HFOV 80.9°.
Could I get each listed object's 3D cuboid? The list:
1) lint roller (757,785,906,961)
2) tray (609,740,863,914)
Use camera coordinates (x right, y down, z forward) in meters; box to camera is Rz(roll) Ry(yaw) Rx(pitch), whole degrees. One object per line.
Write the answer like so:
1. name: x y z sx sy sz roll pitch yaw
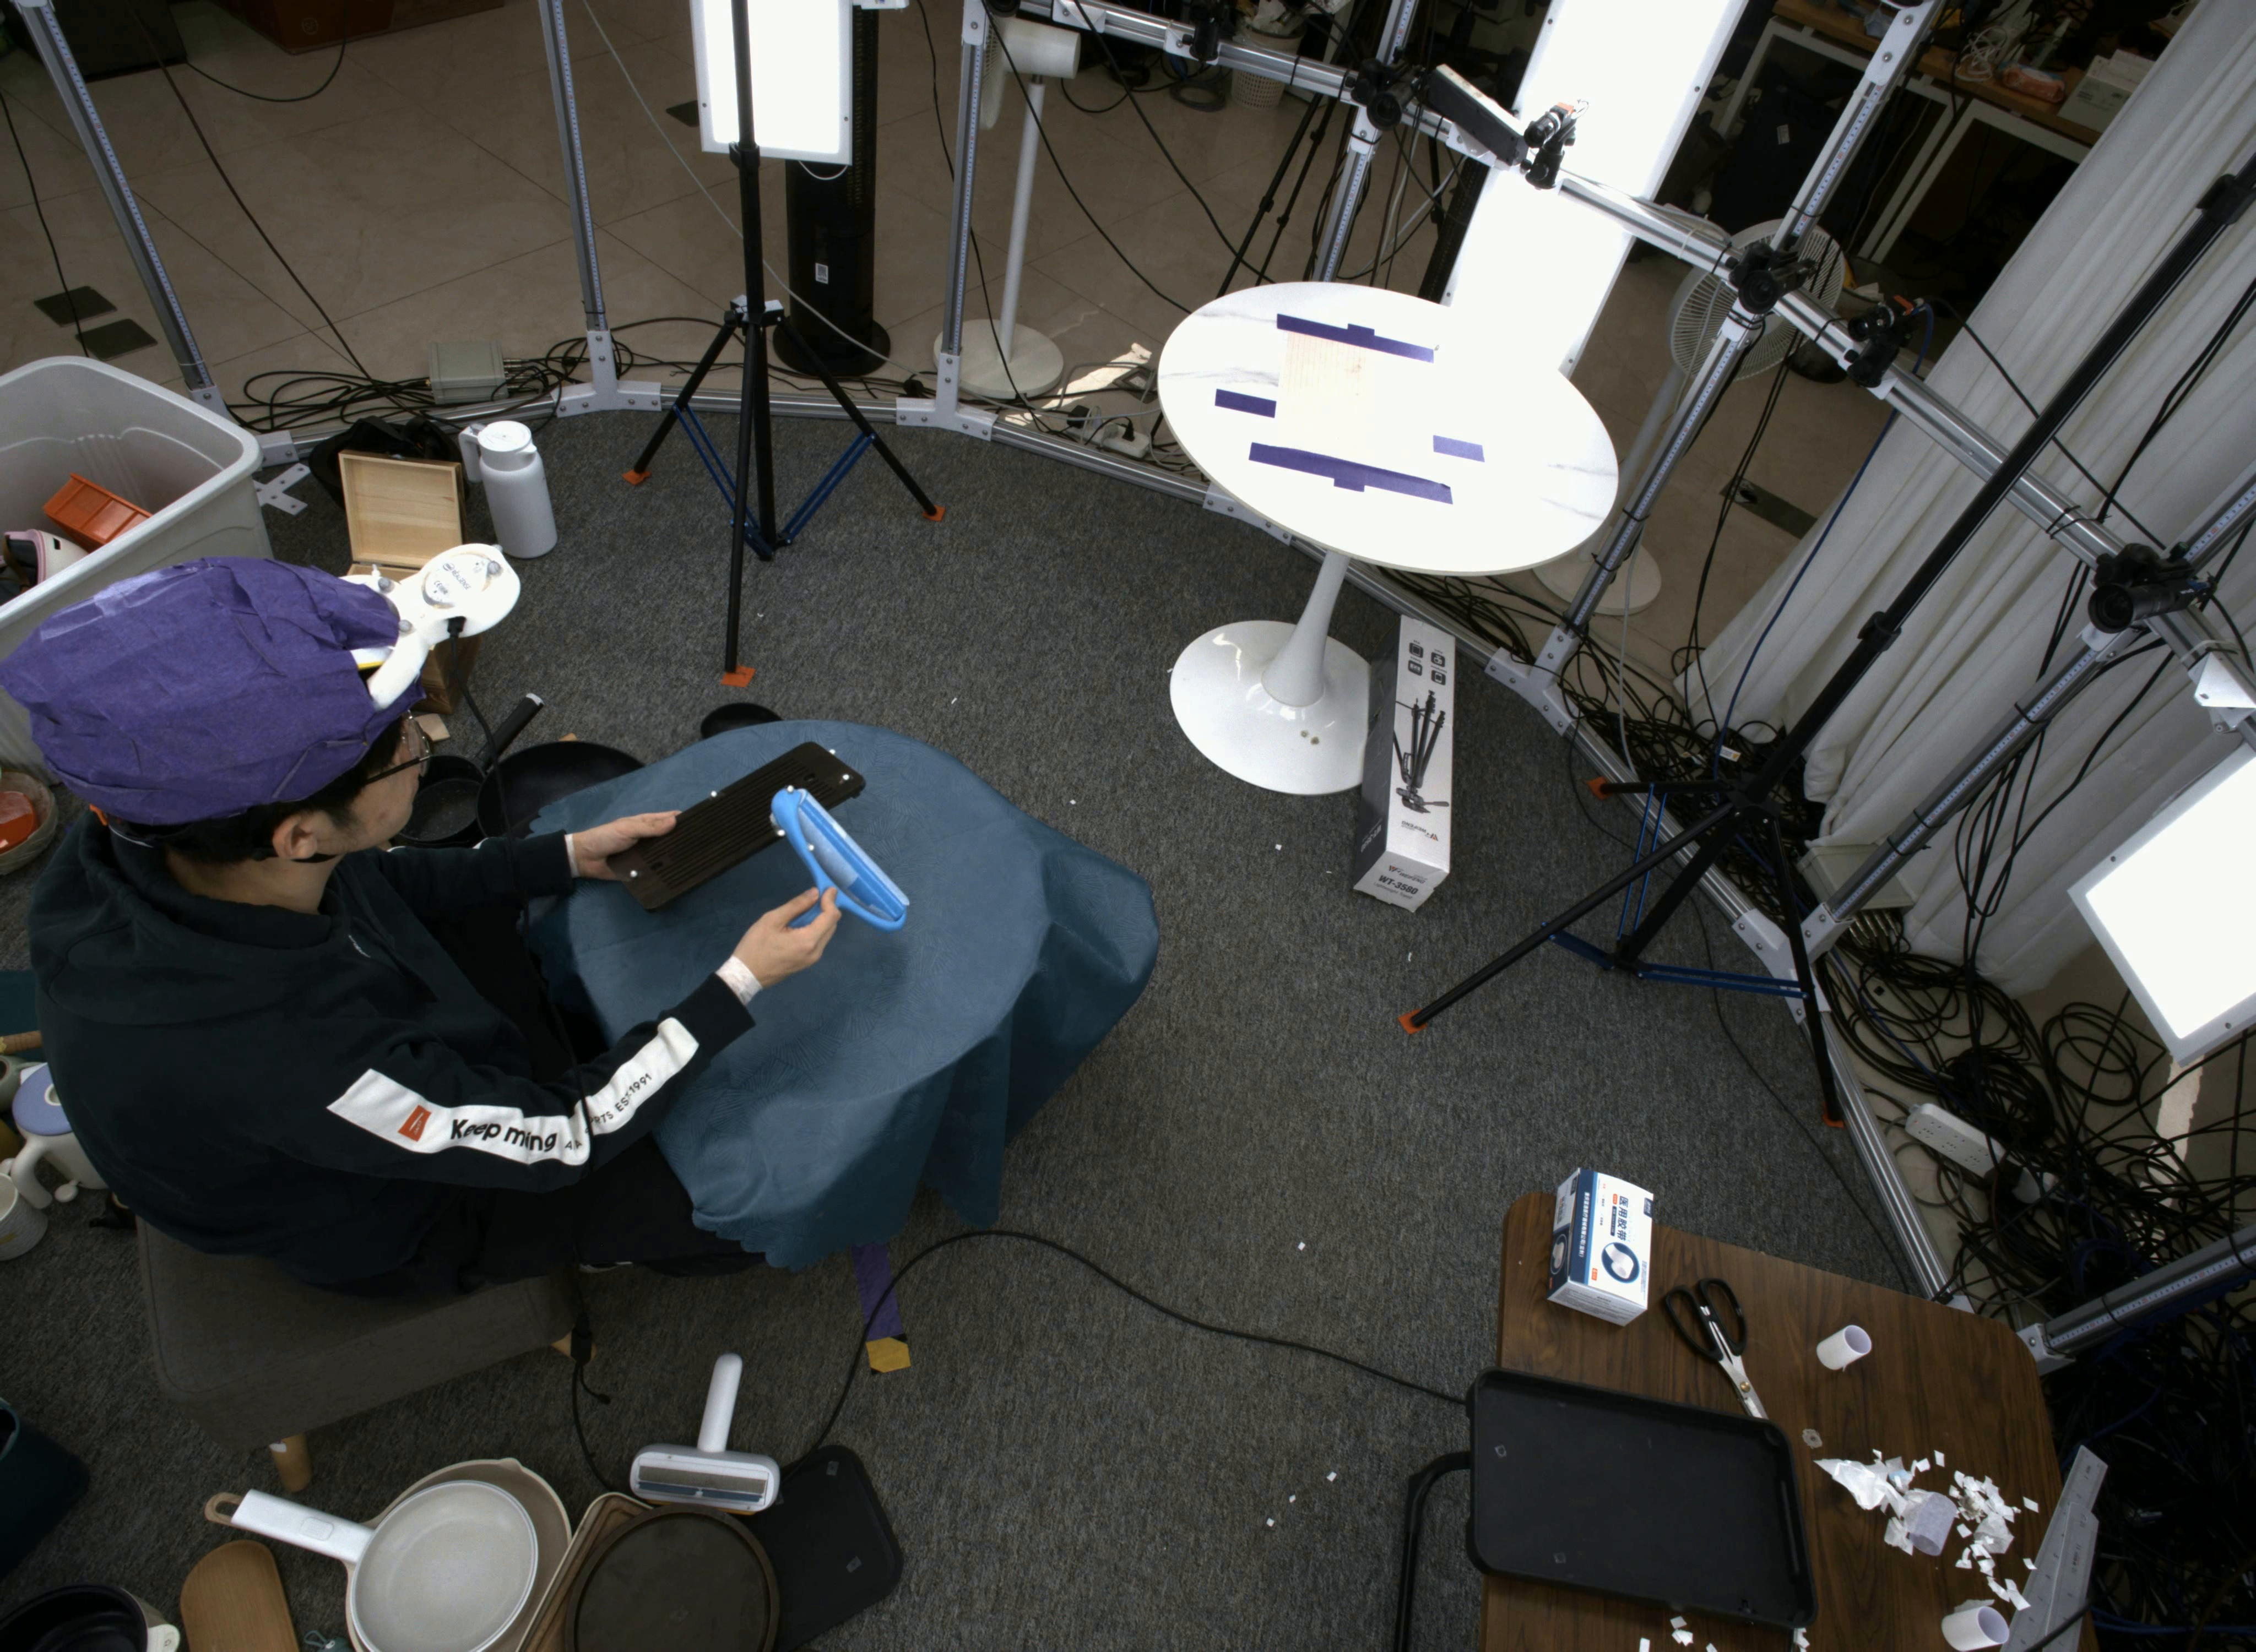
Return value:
1. lint roller: -0.366 0.082 1.520 0.066 0.237 0.179 -6 46 38
2. tray: -0.487 -0.004 1.600 0.306 0.019 0.163 -34 40 -24
